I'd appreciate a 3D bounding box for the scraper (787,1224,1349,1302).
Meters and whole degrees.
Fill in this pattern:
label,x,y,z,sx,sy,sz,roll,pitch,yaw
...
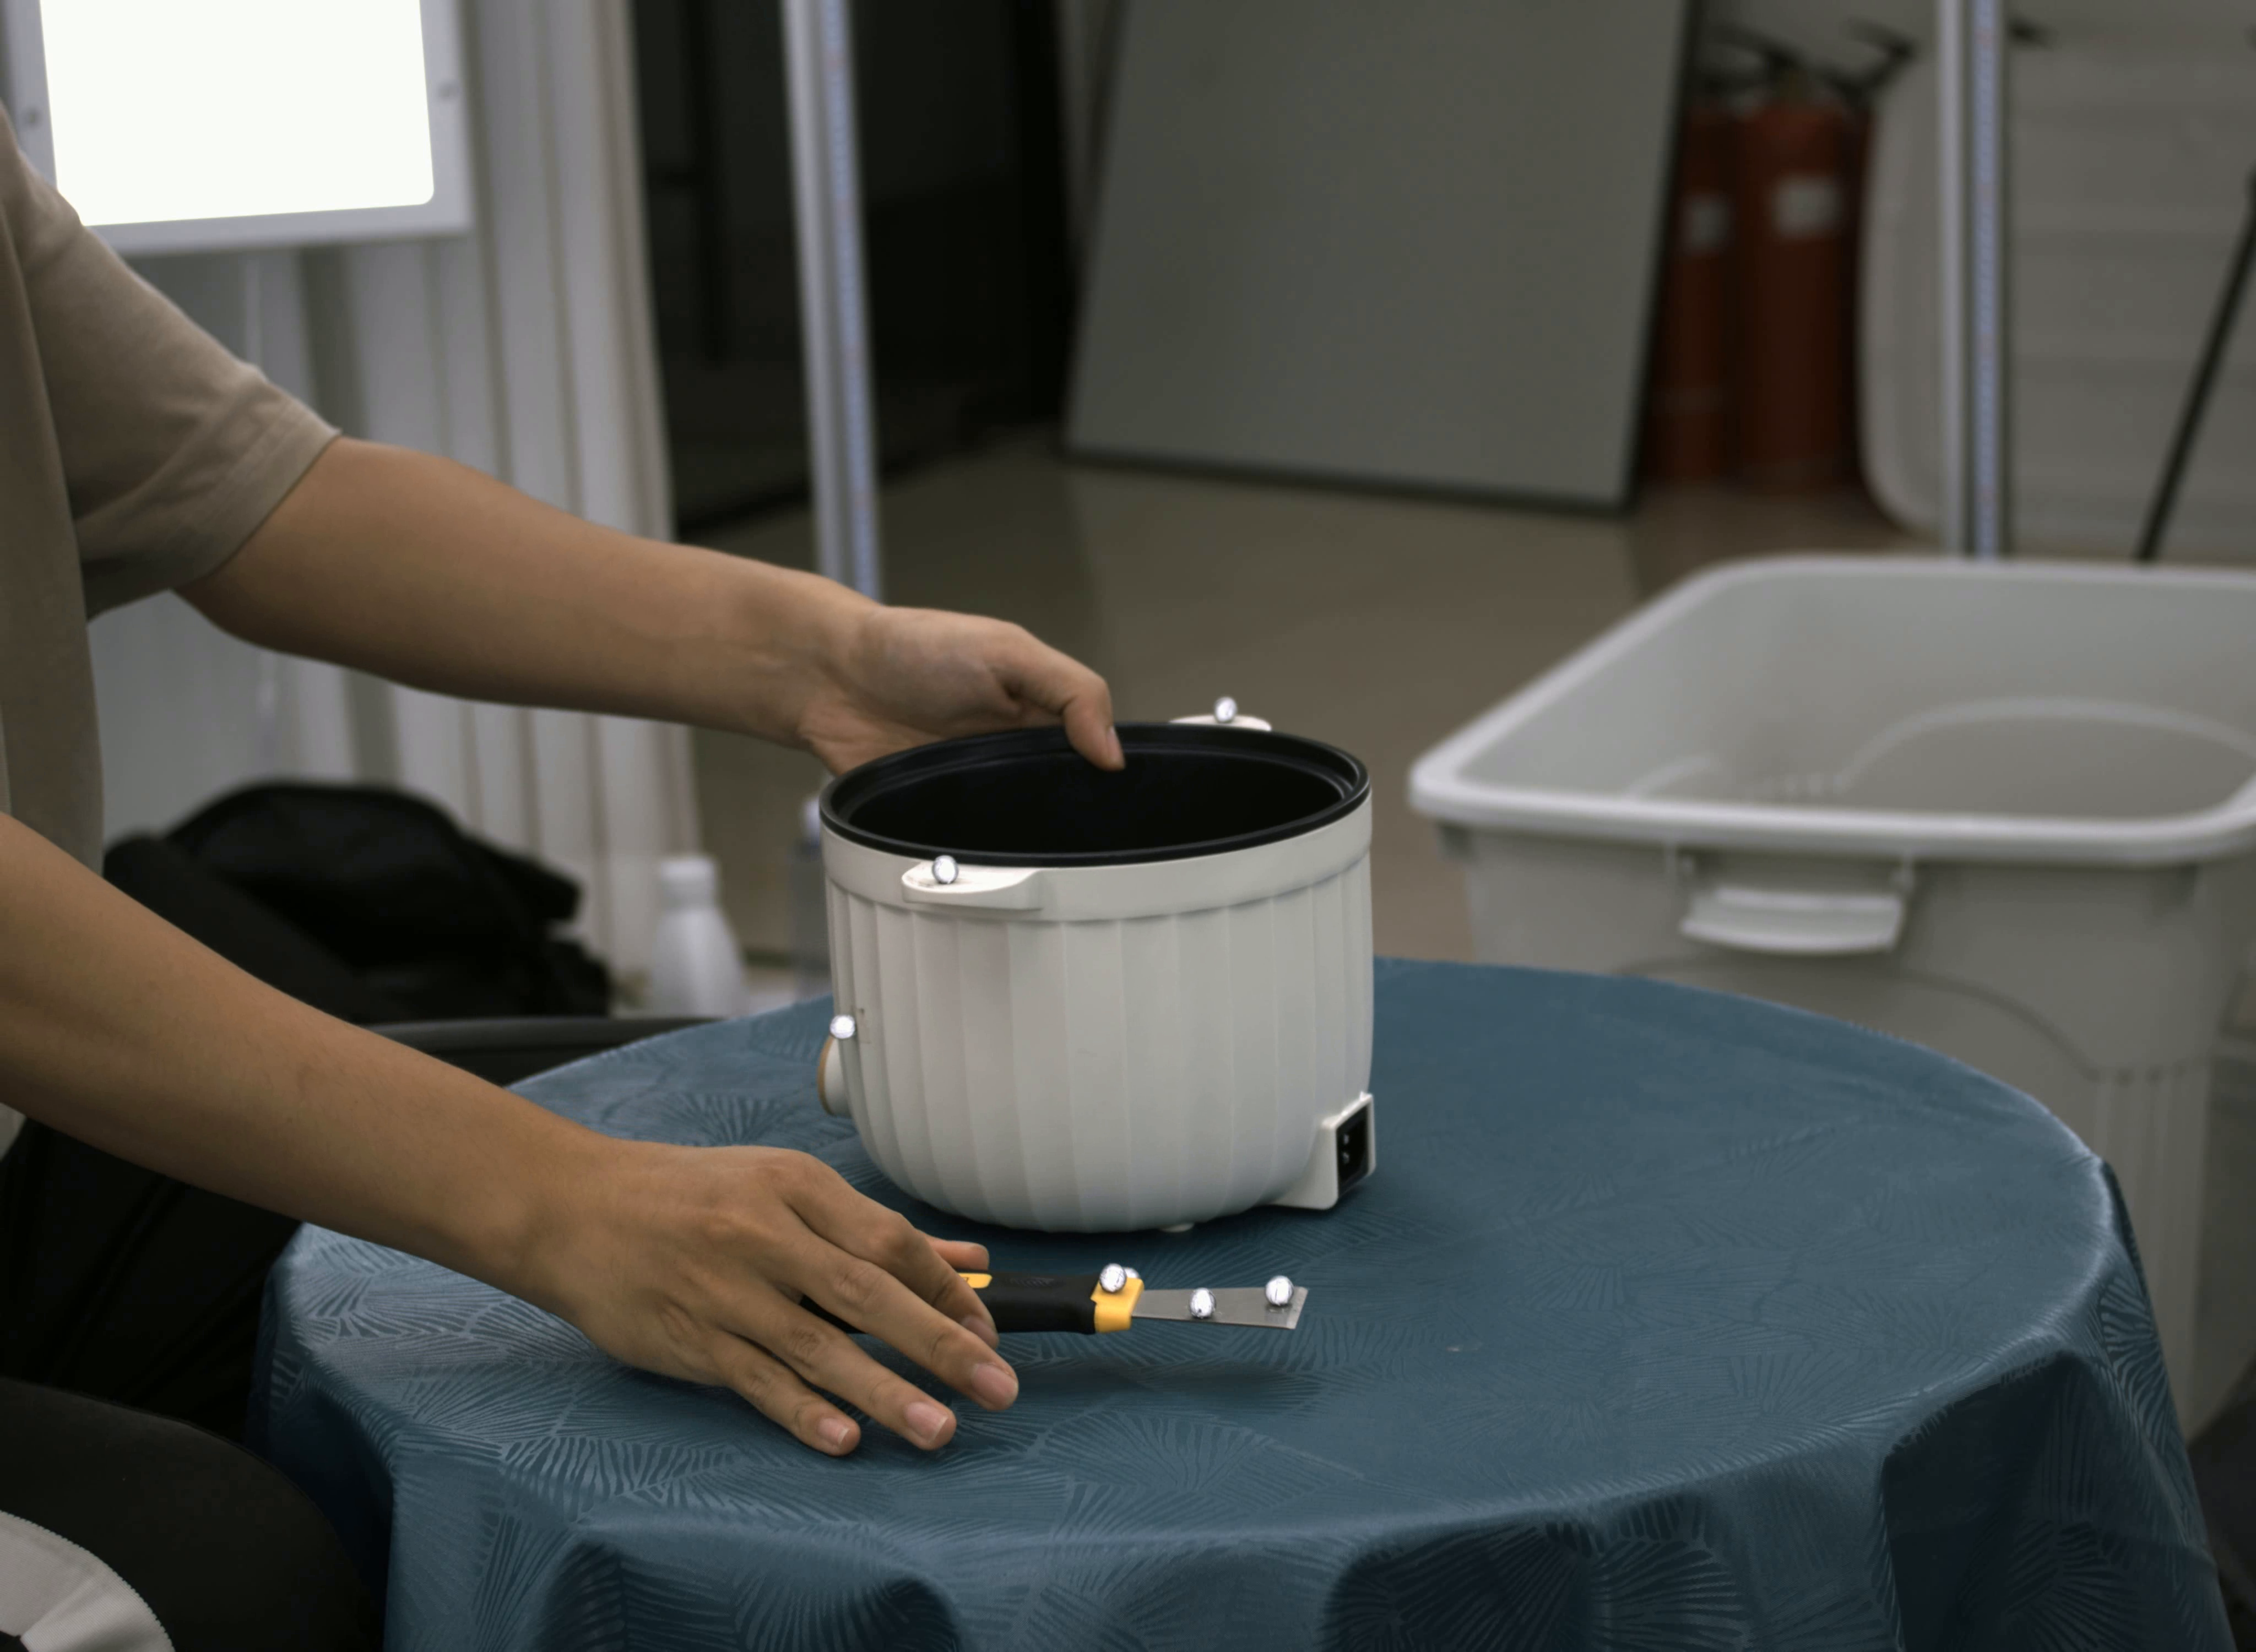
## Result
label,x,y,z,sx,sy,sz,roll,pitch,yaw
scraper,-0.019,0.130,1.610,0.169,0.015,0.039,-1,20,10

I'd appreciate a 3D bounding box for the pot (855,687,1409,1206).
label,x,y,z,sx,sy,sz,roll,pitch,yaw
pot,-0.001,0.042,1.781,0.190,0.144,0.237,6,15,23
